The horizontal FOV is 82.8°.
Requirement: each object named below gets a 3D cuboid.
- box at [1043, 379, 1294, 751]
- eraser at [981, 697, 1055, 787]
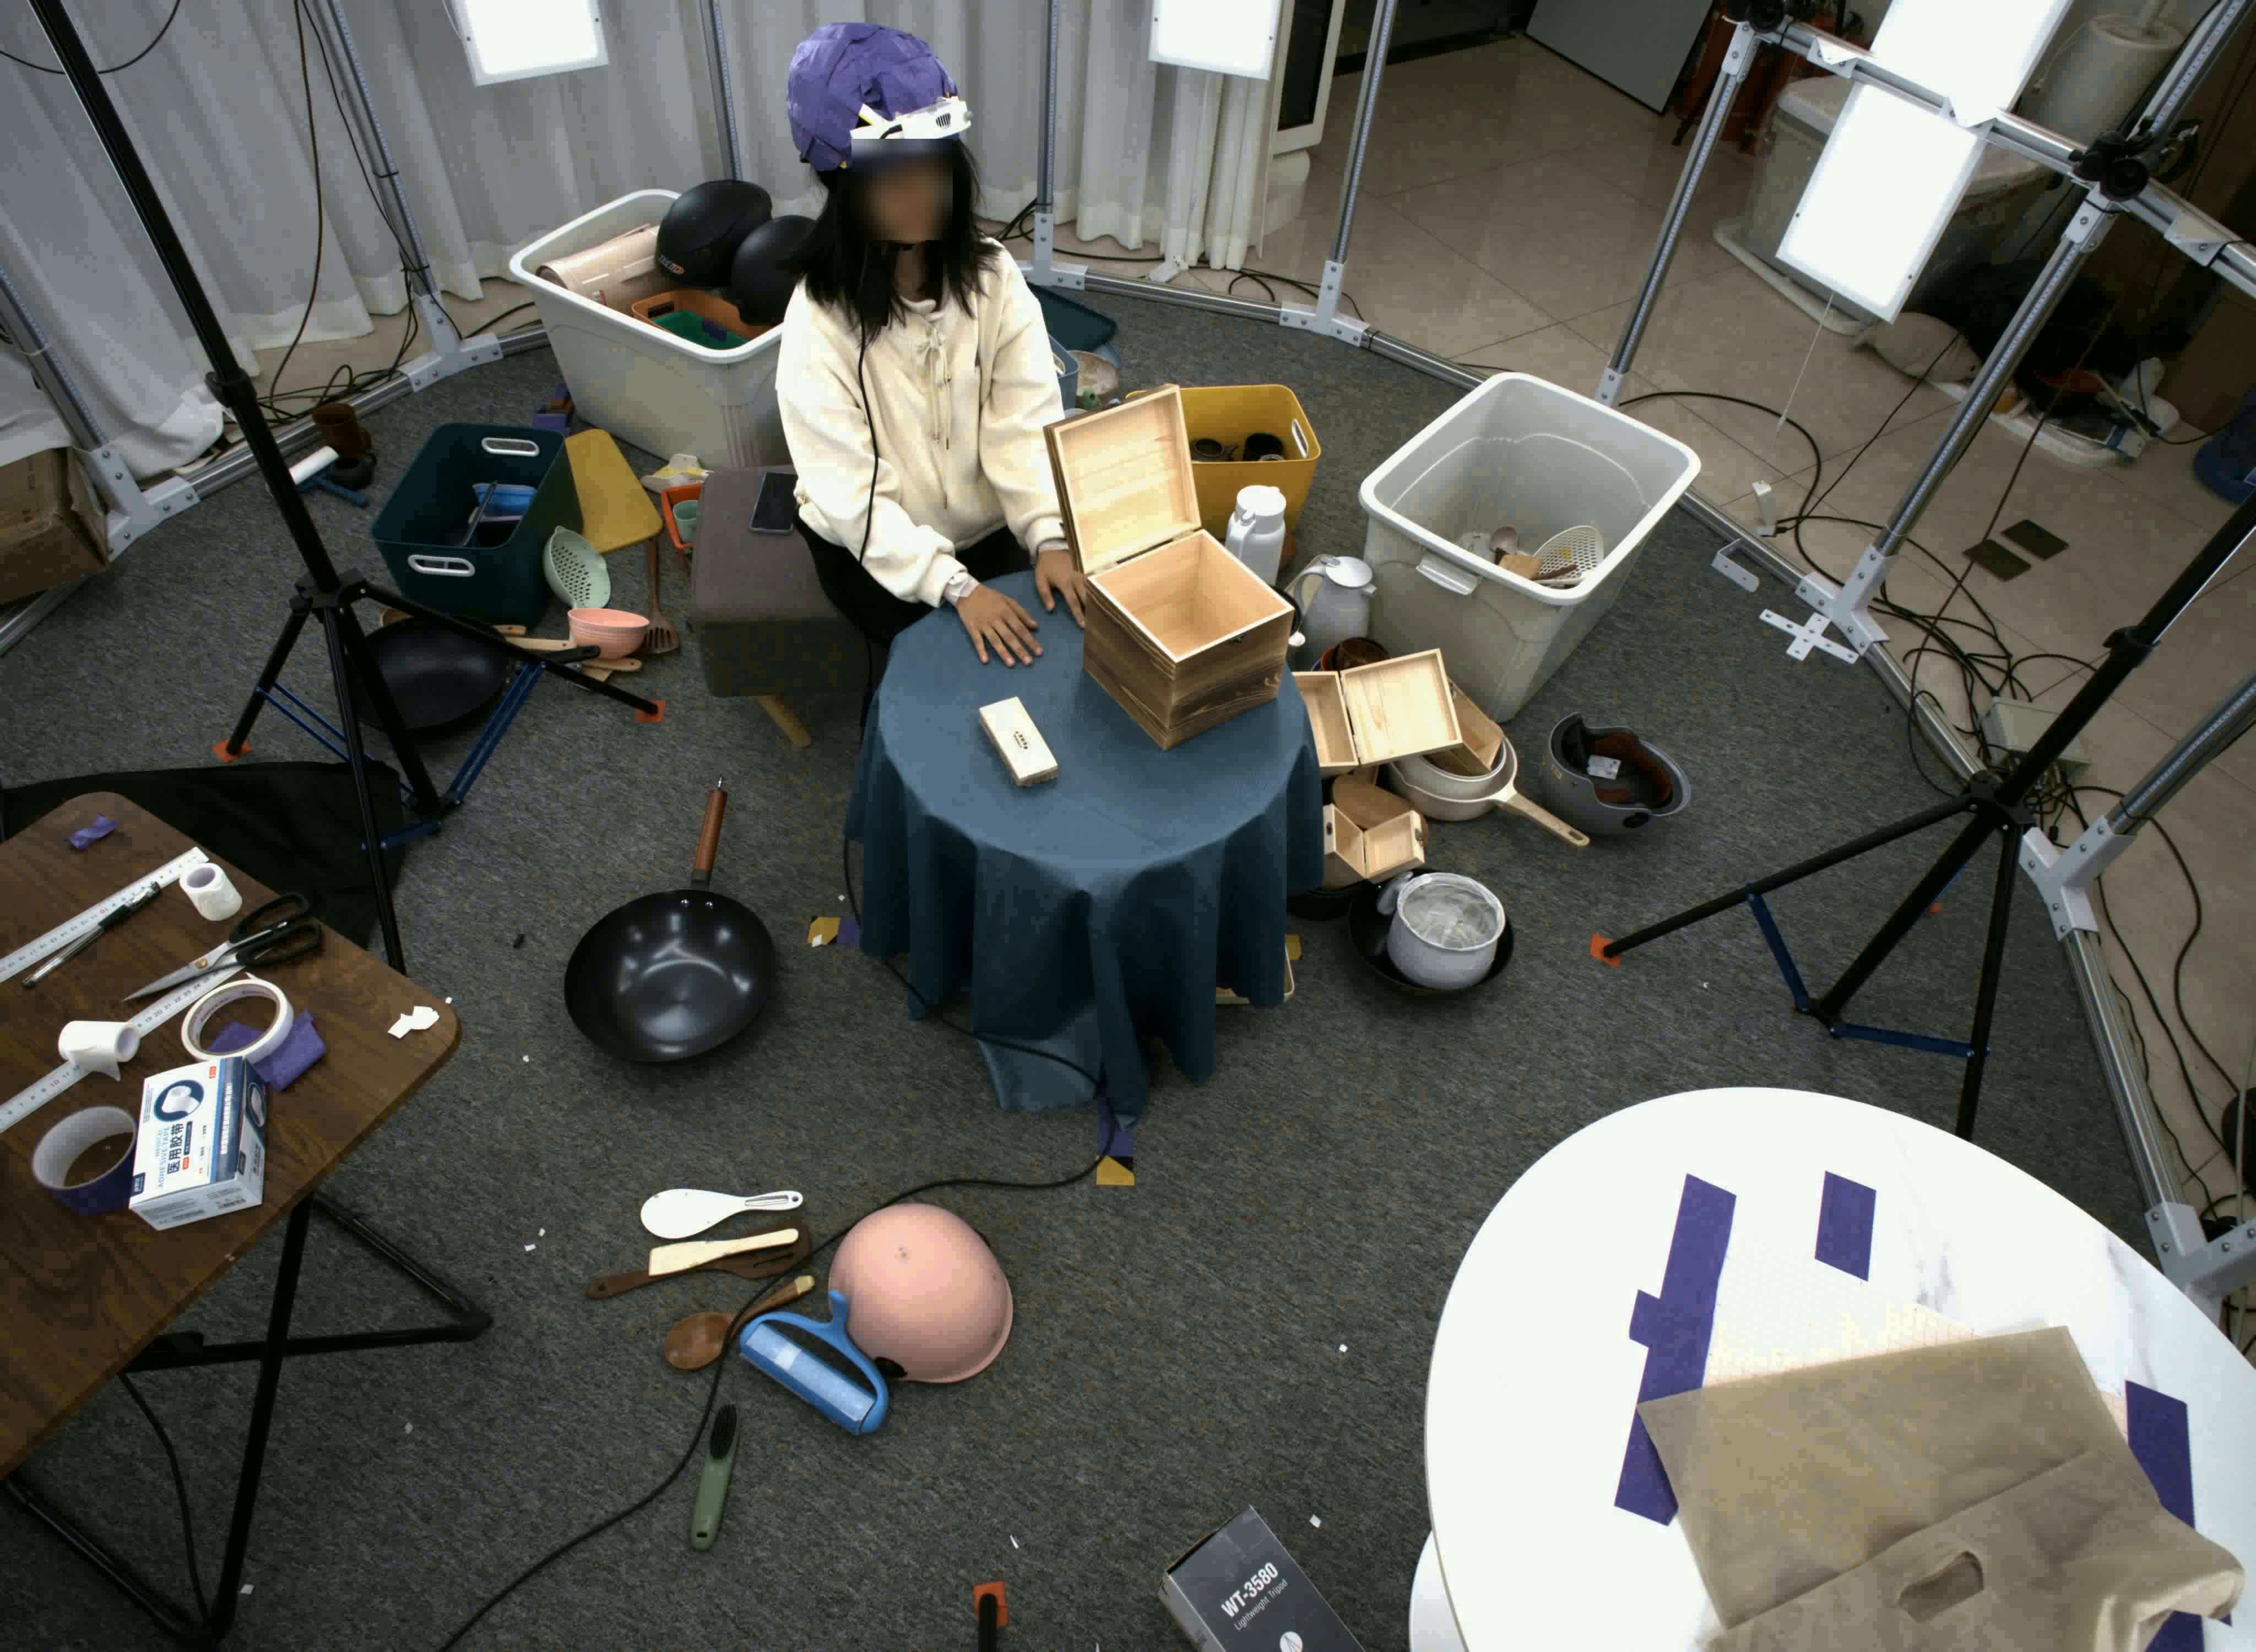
[{"bbox_3d":[0.052,-0.355,1.747,0.210,0.366,0.328,-27,57,-24],"label":"box"},{"bbox_3d":[-0.149,-0.113,1.739,0.057,0.028,0.142,-19,52,-16],"label":"eraser"}]
